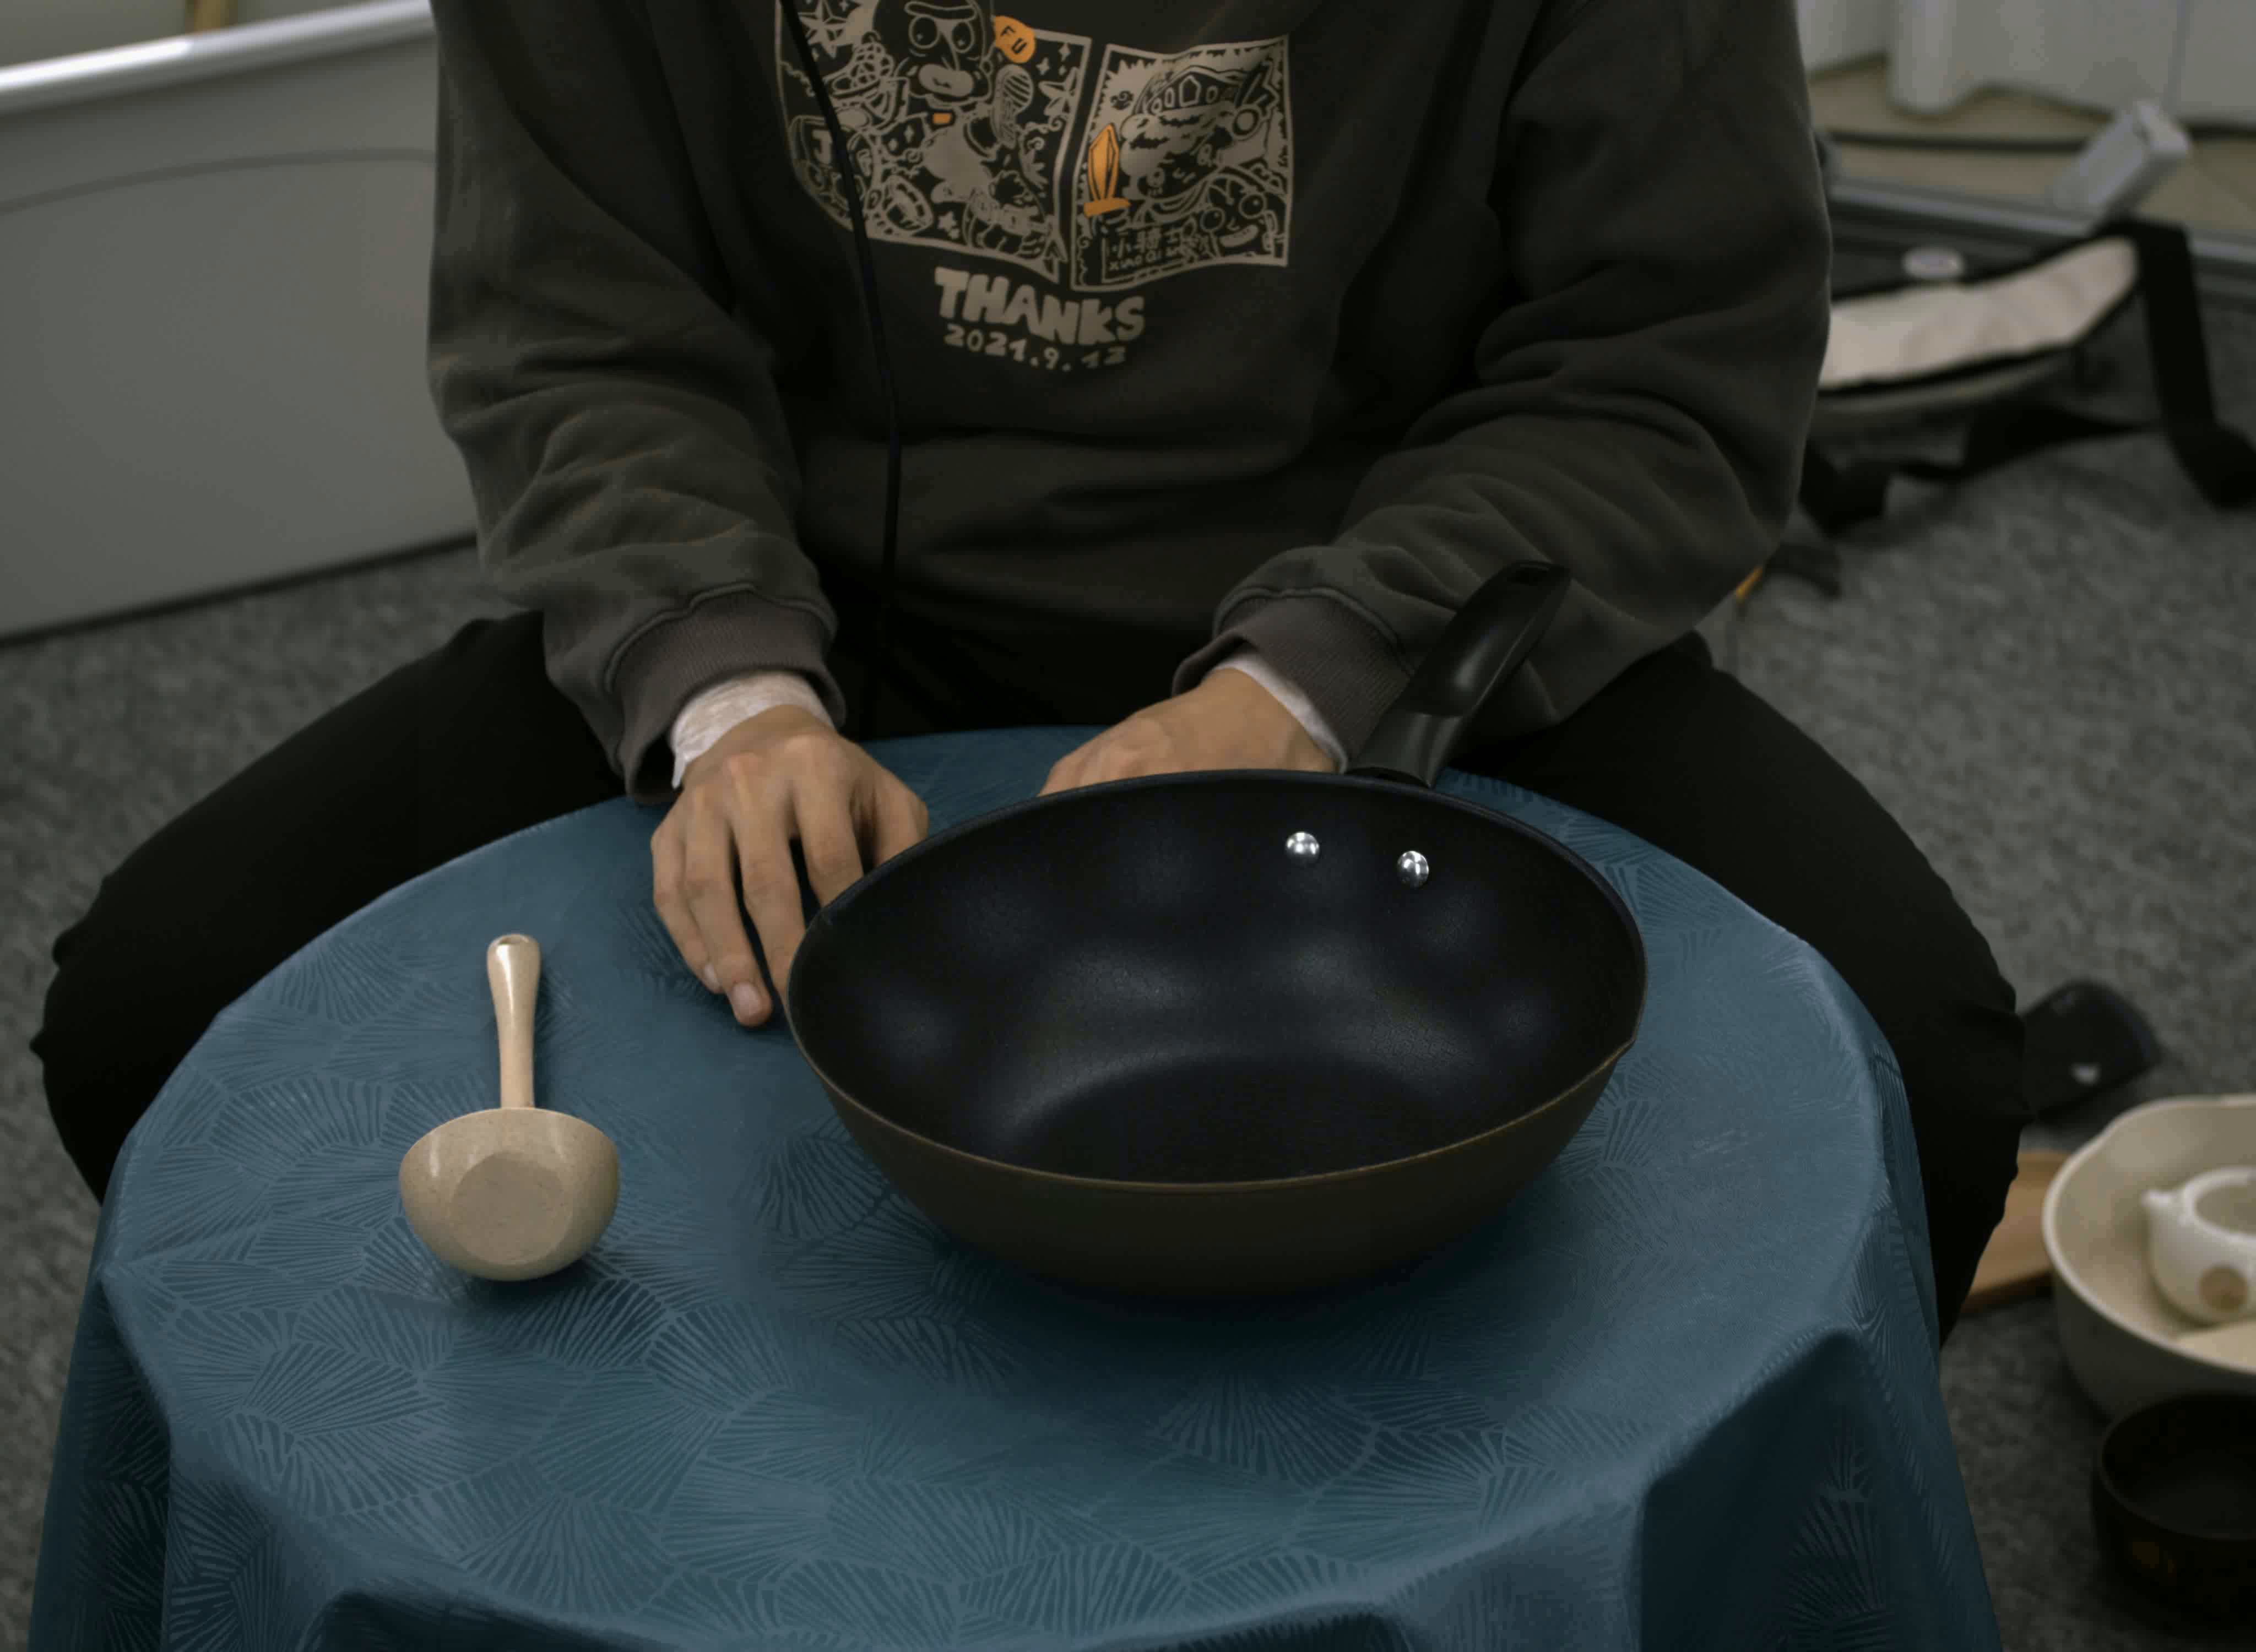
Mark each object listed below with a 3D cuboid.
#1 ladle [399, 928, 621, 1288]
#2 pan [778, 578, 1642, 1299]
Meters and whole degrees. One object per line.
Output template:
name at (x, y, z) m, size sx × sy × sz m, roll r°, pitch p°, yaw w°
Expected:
ladle at (-0.214, 0.069, 1.904) m, size 0.072 × 0.072 × 0.258 m, roll -9°, pitch 29°, yaw -5°
pan at (0.064, 0.039, 1.924) m, size 0.286 × 0.086 × 0.471 m, roll 9°, pitch 29°, yaw 22°
